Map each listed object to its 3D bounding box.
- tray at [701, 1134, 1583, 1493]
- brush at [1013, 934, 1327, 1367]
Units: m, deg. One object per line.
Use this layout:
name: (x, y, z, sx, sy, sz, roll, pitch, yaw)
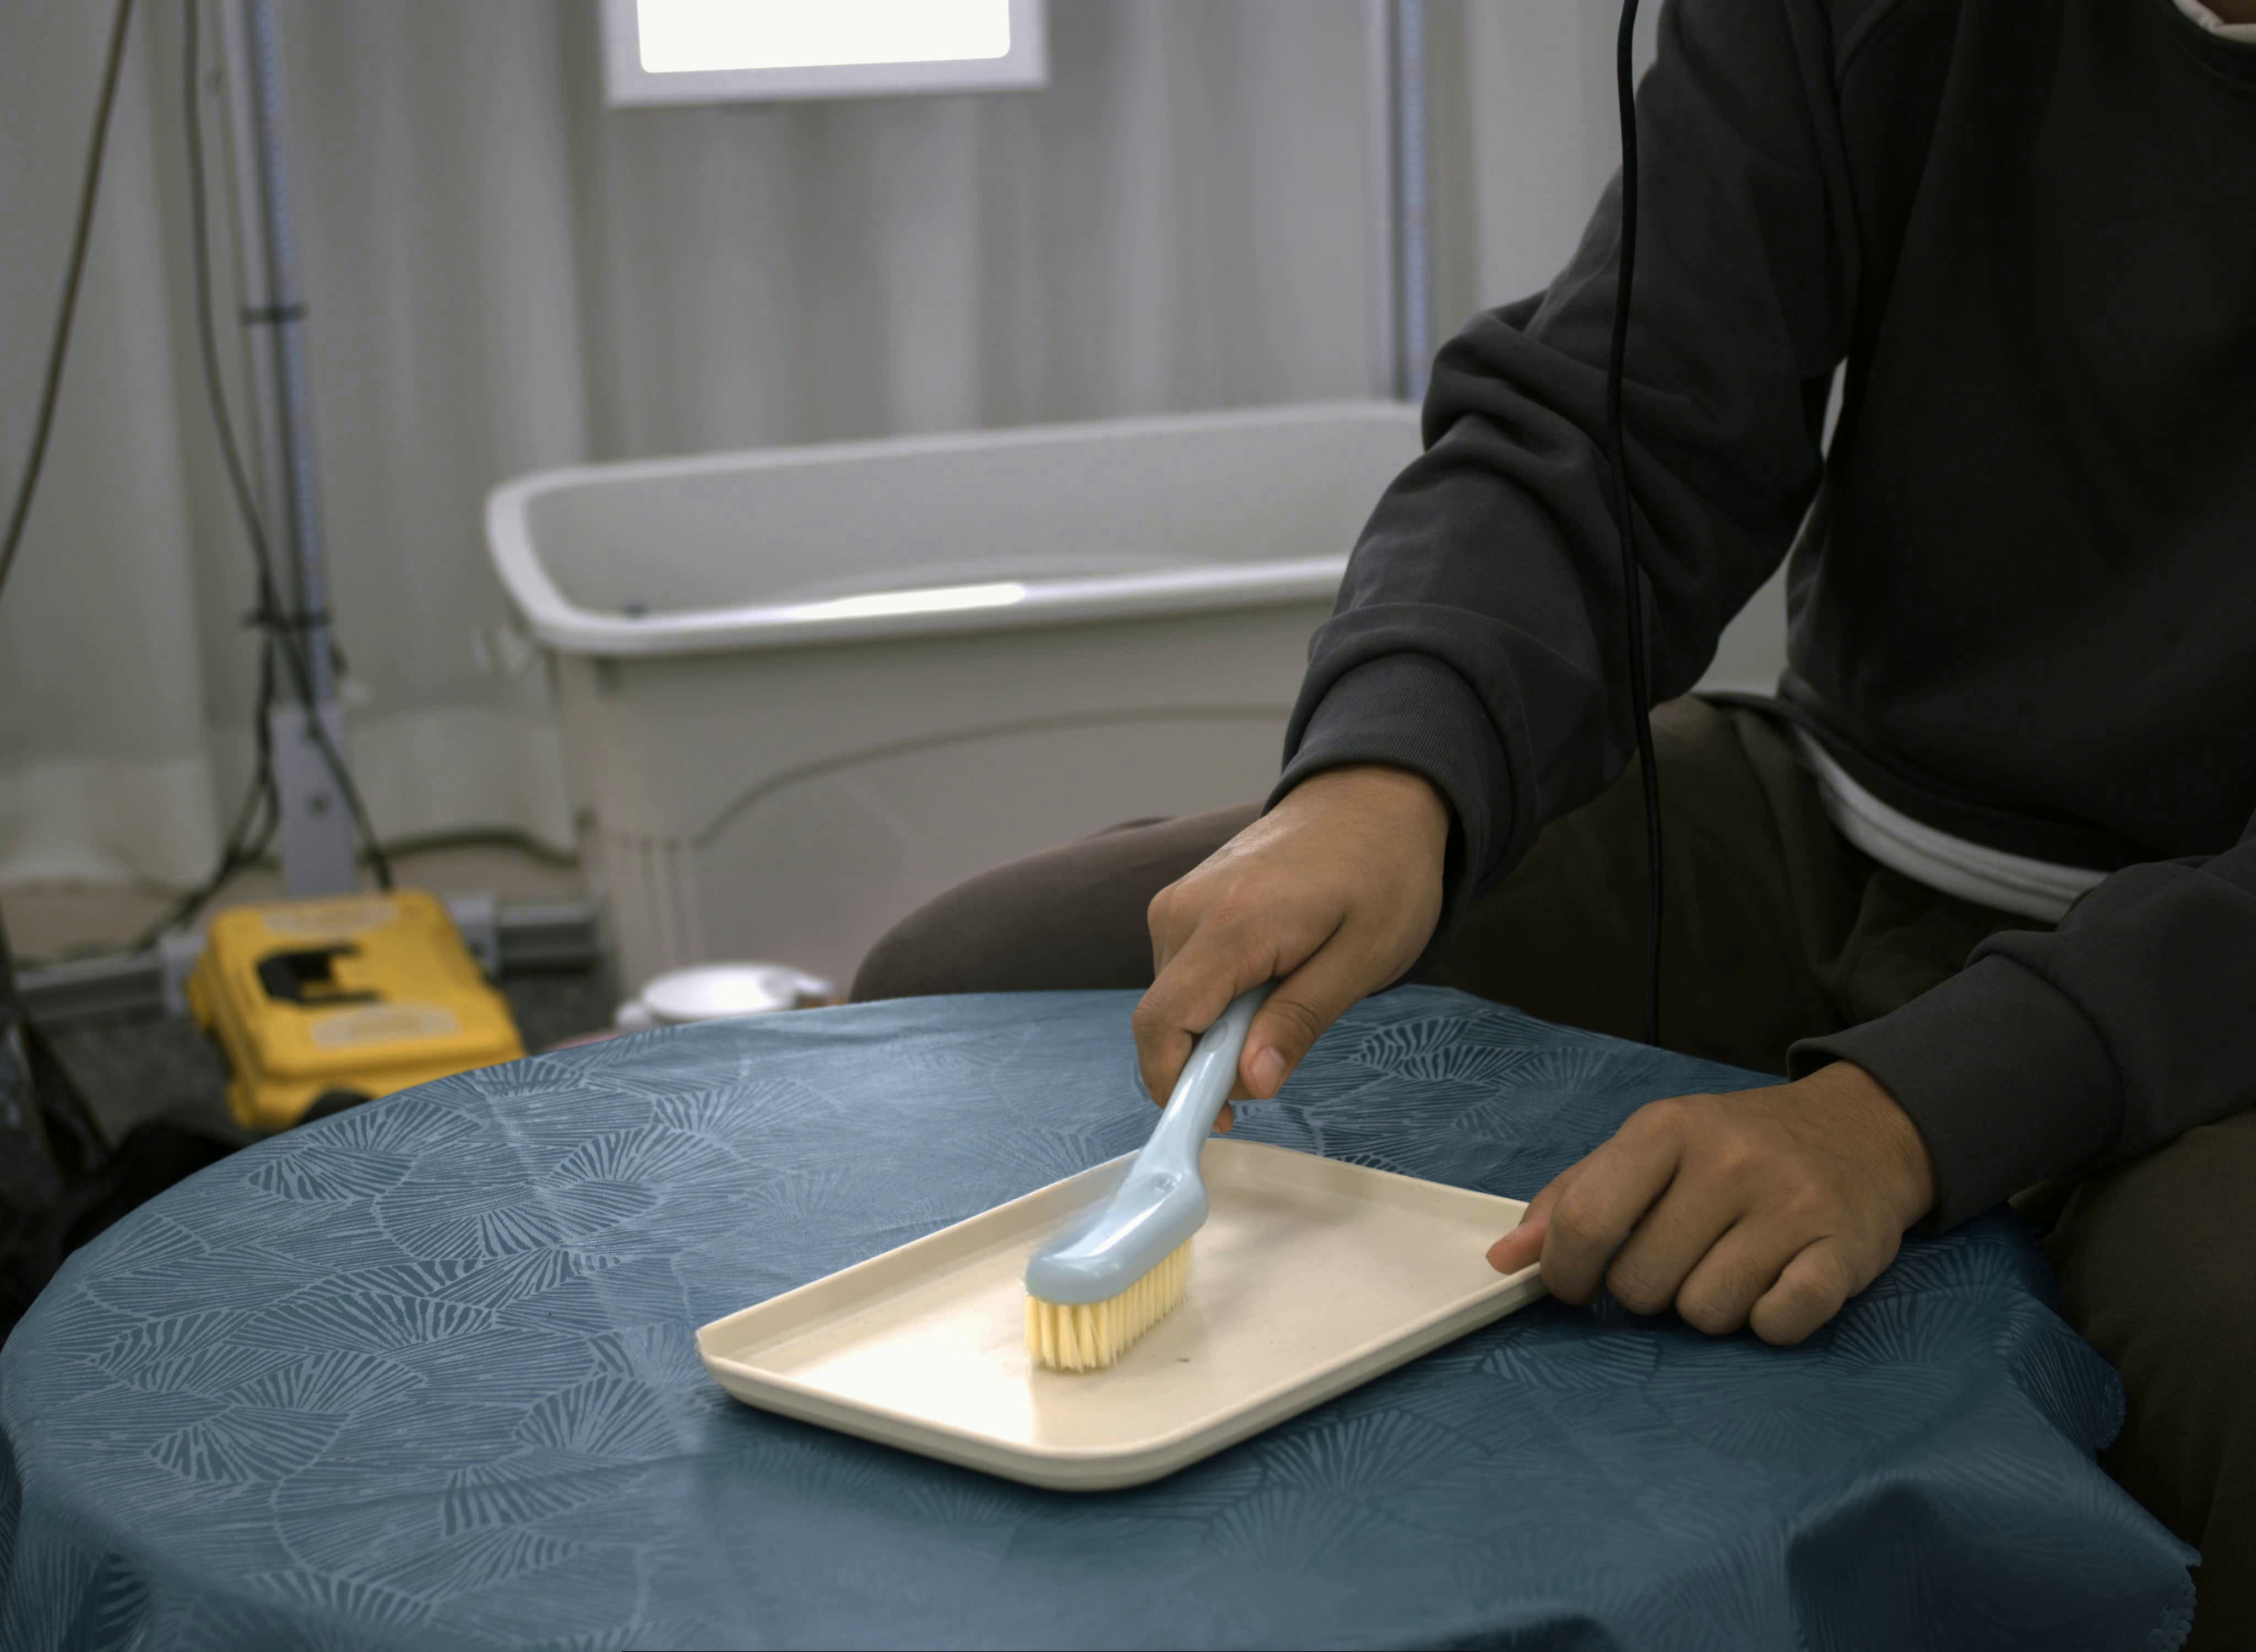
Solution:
tray: (0.007, 0.140, 1.586, 0.172, 0.017, 0.239, 11, 20, 40)
brush: (0.018, 0.094, 1.643, 0.038, 0.049, 0.230, 2, 28, 19)
